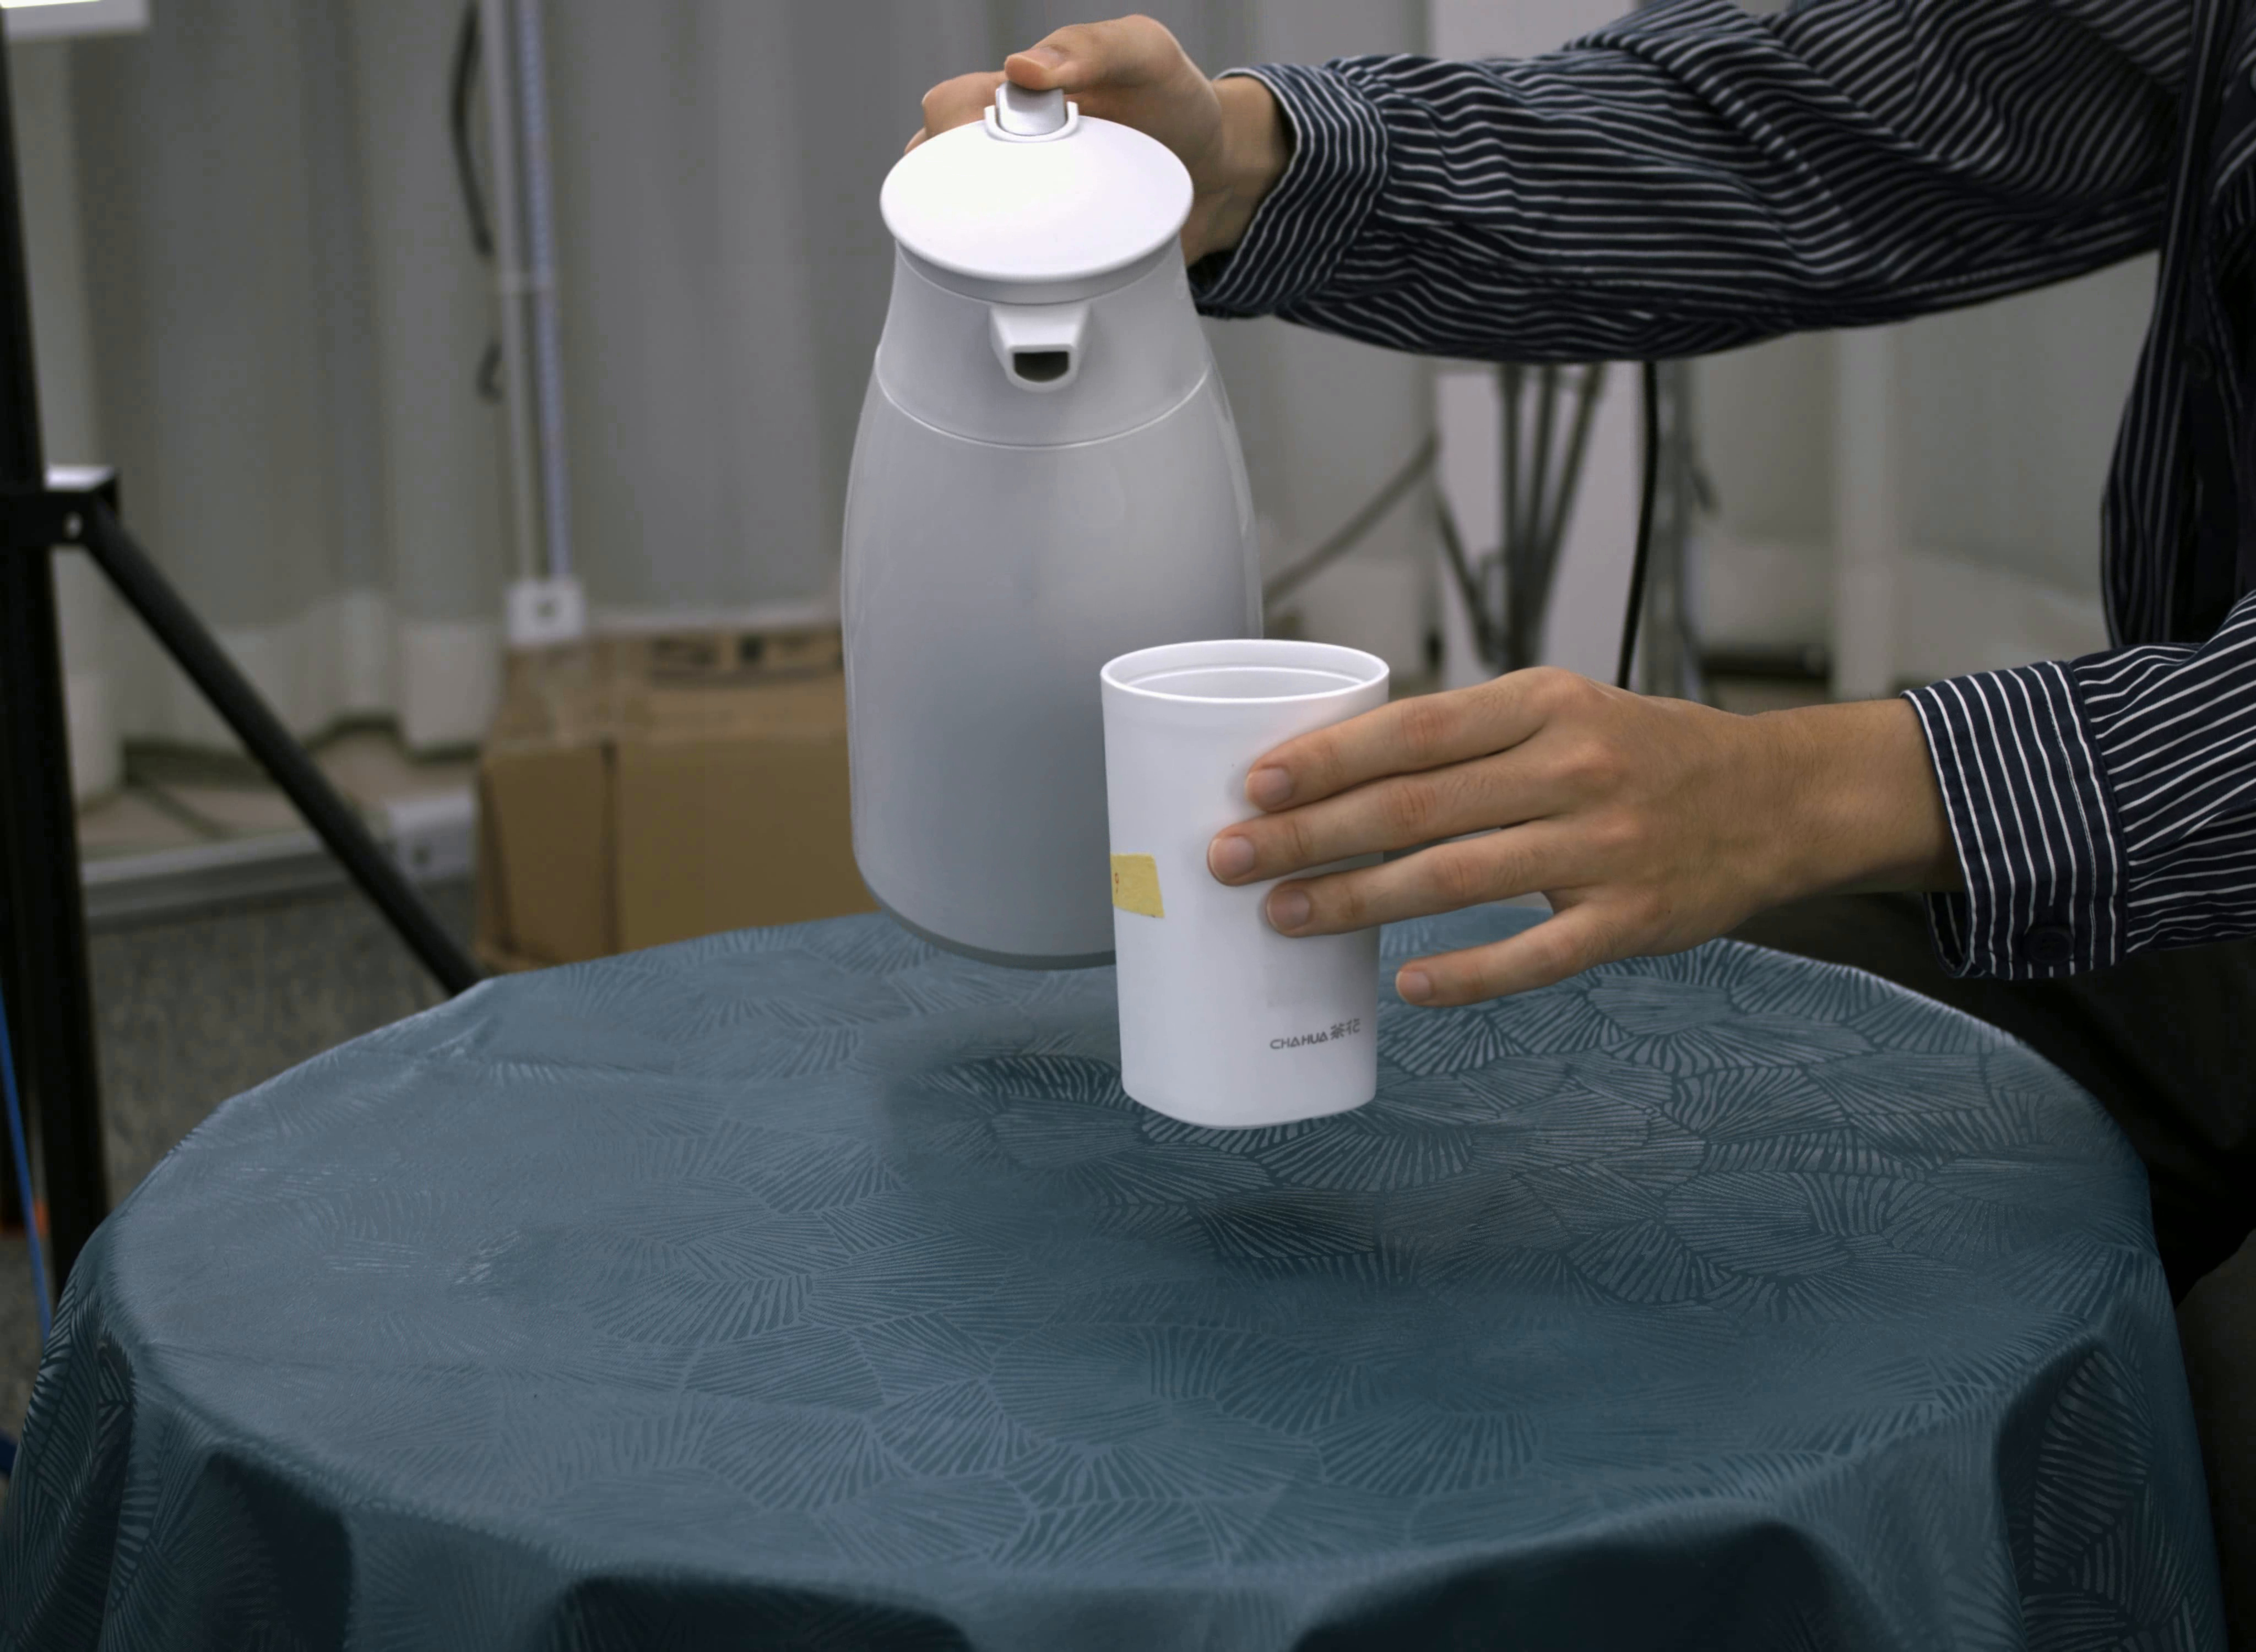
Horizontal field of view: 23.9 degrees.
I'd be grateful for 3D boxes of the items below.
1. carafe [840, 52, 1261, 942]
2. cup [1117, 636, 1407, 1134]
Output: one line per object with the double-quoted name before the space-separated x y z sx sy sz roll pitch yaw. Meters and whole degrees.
"carafe" -0.029 -0.111 1.637 0.131 0.247 0.170 -7 40 -4
"cup" 0.038 0.017 1.489 0.081 0.125 0.082 -1 13 -1
